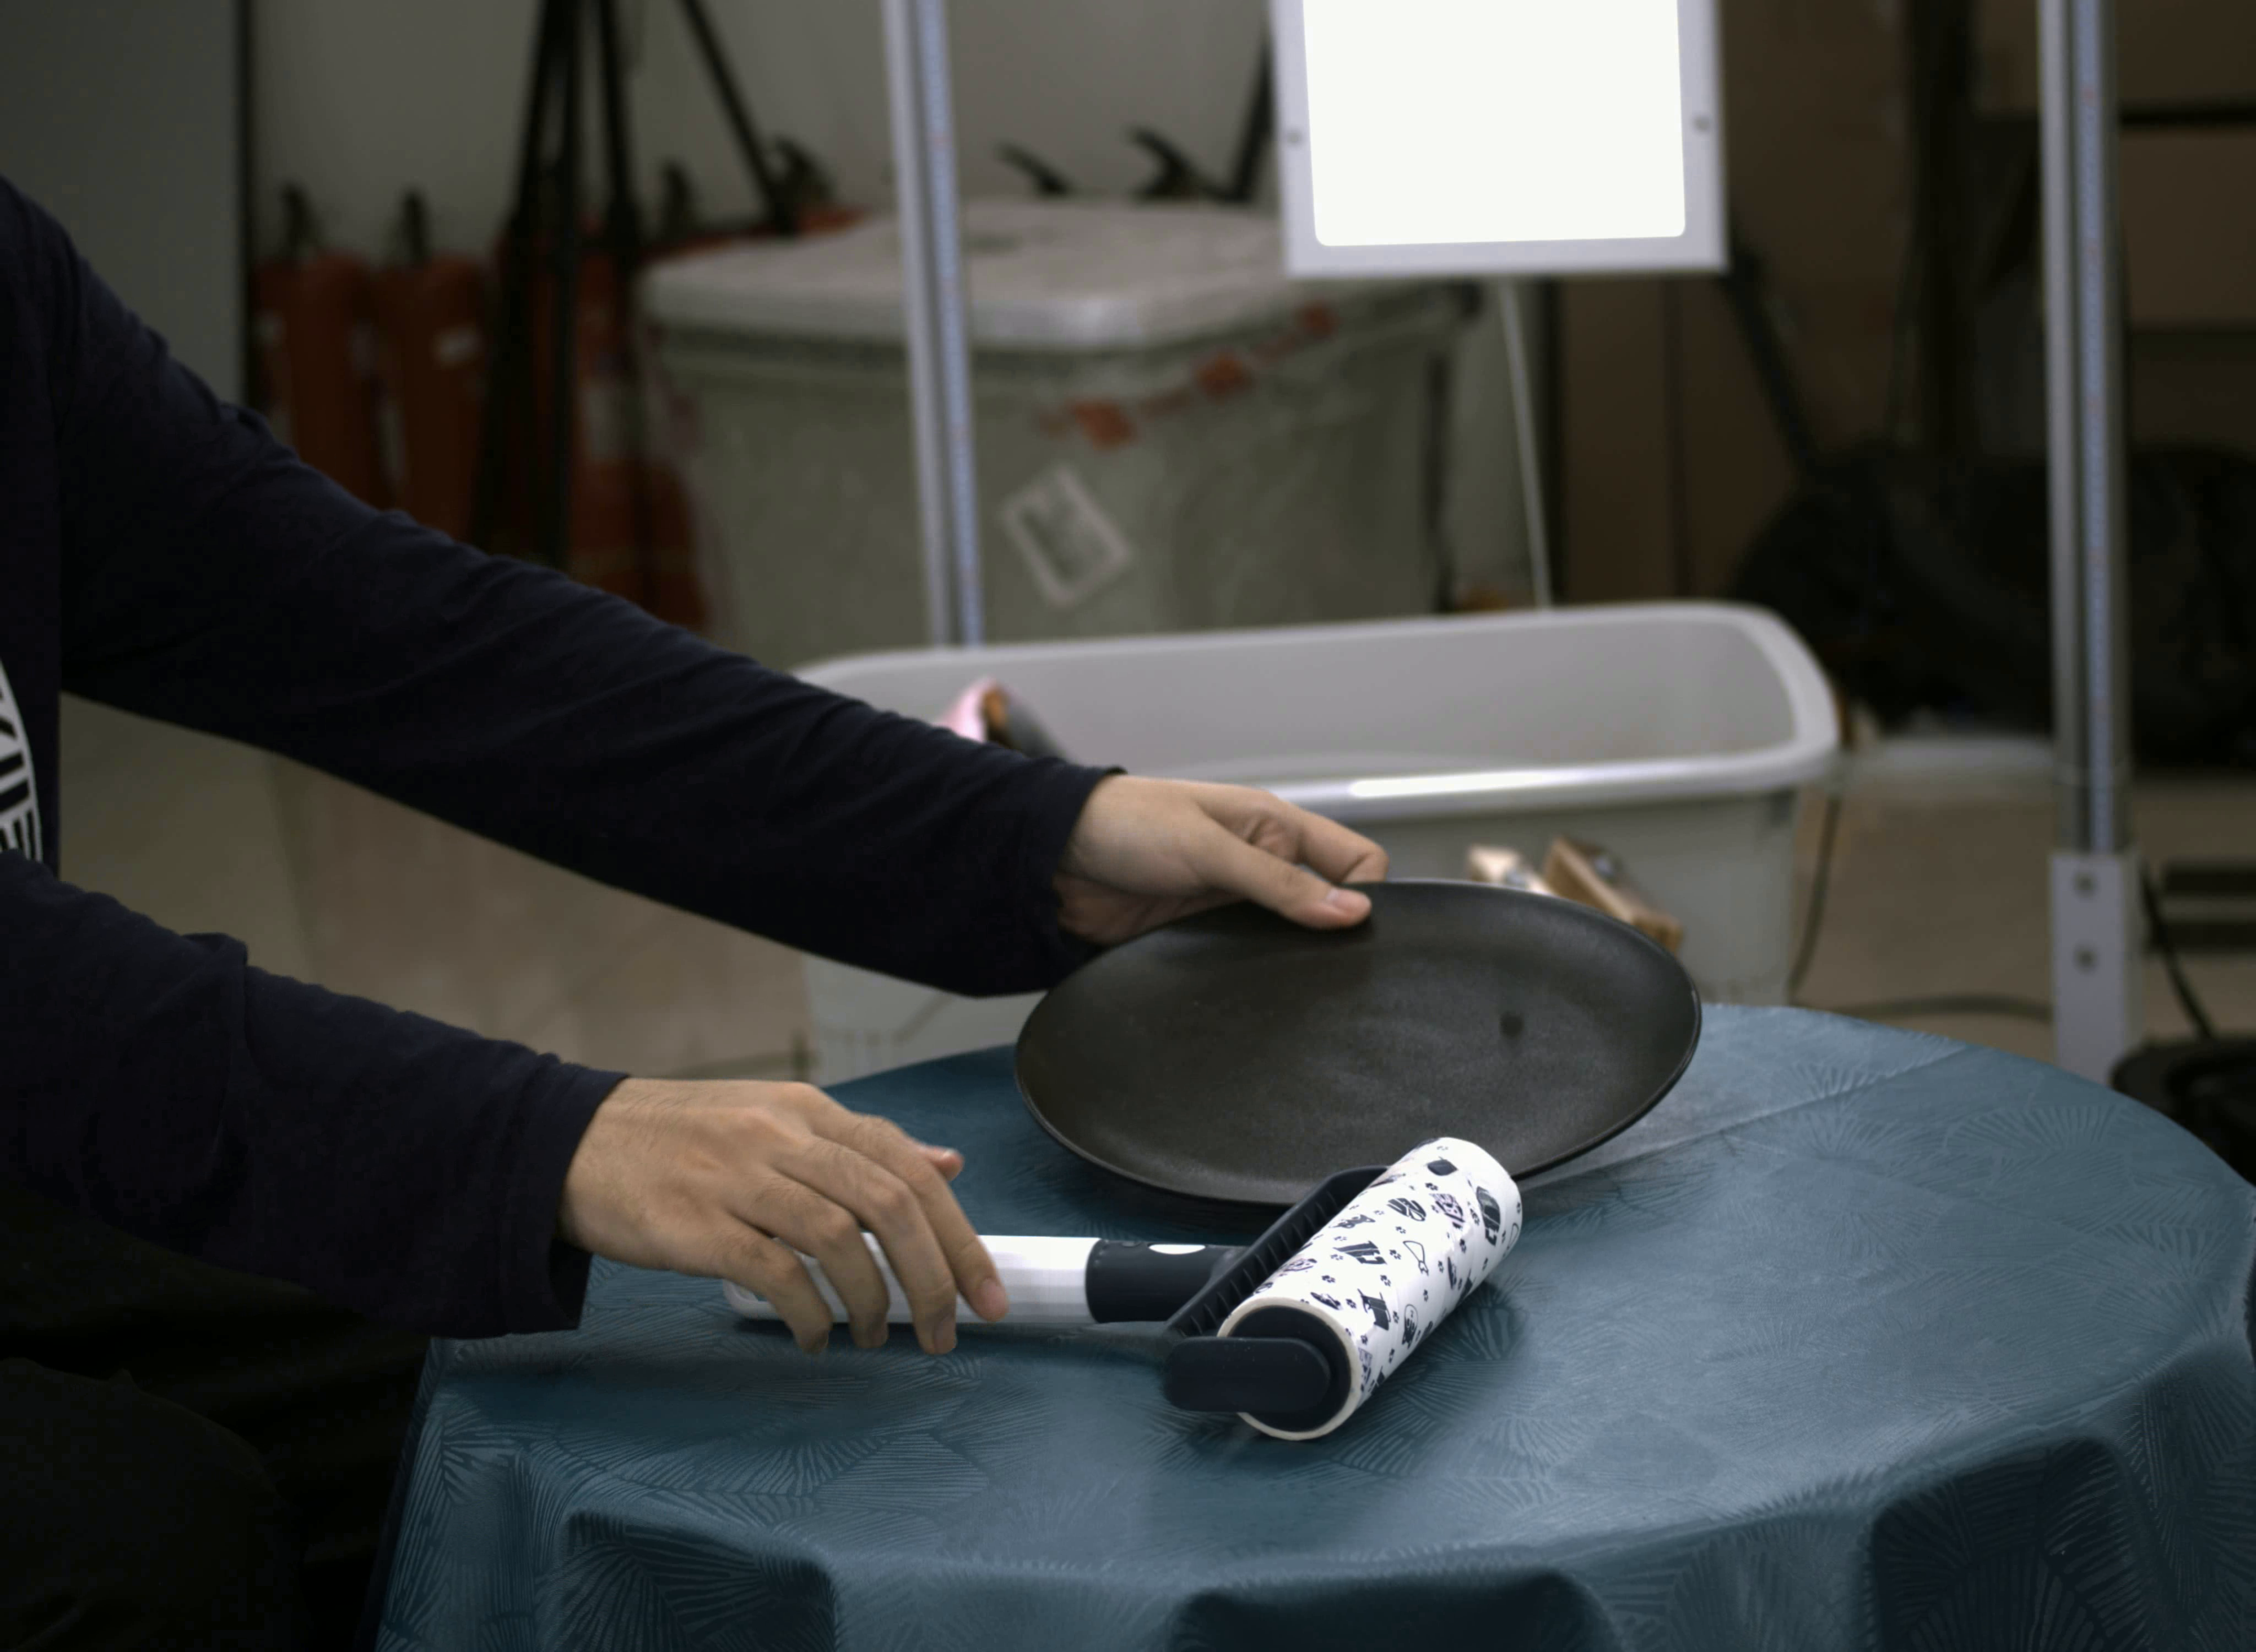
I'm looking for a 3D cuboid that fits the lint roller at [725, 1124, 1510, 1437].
[{"bbox_3d":[-0.018,0.145,1.752,0.251,0.050,0.173,-3,15,24],"label":"lint roller"}]

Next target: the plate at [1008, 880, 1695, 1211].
[{"bbox_3d":[0.079,0.082,1.937,0.244,0.023,0.244,-7,25,2],"label":"plate"}]
